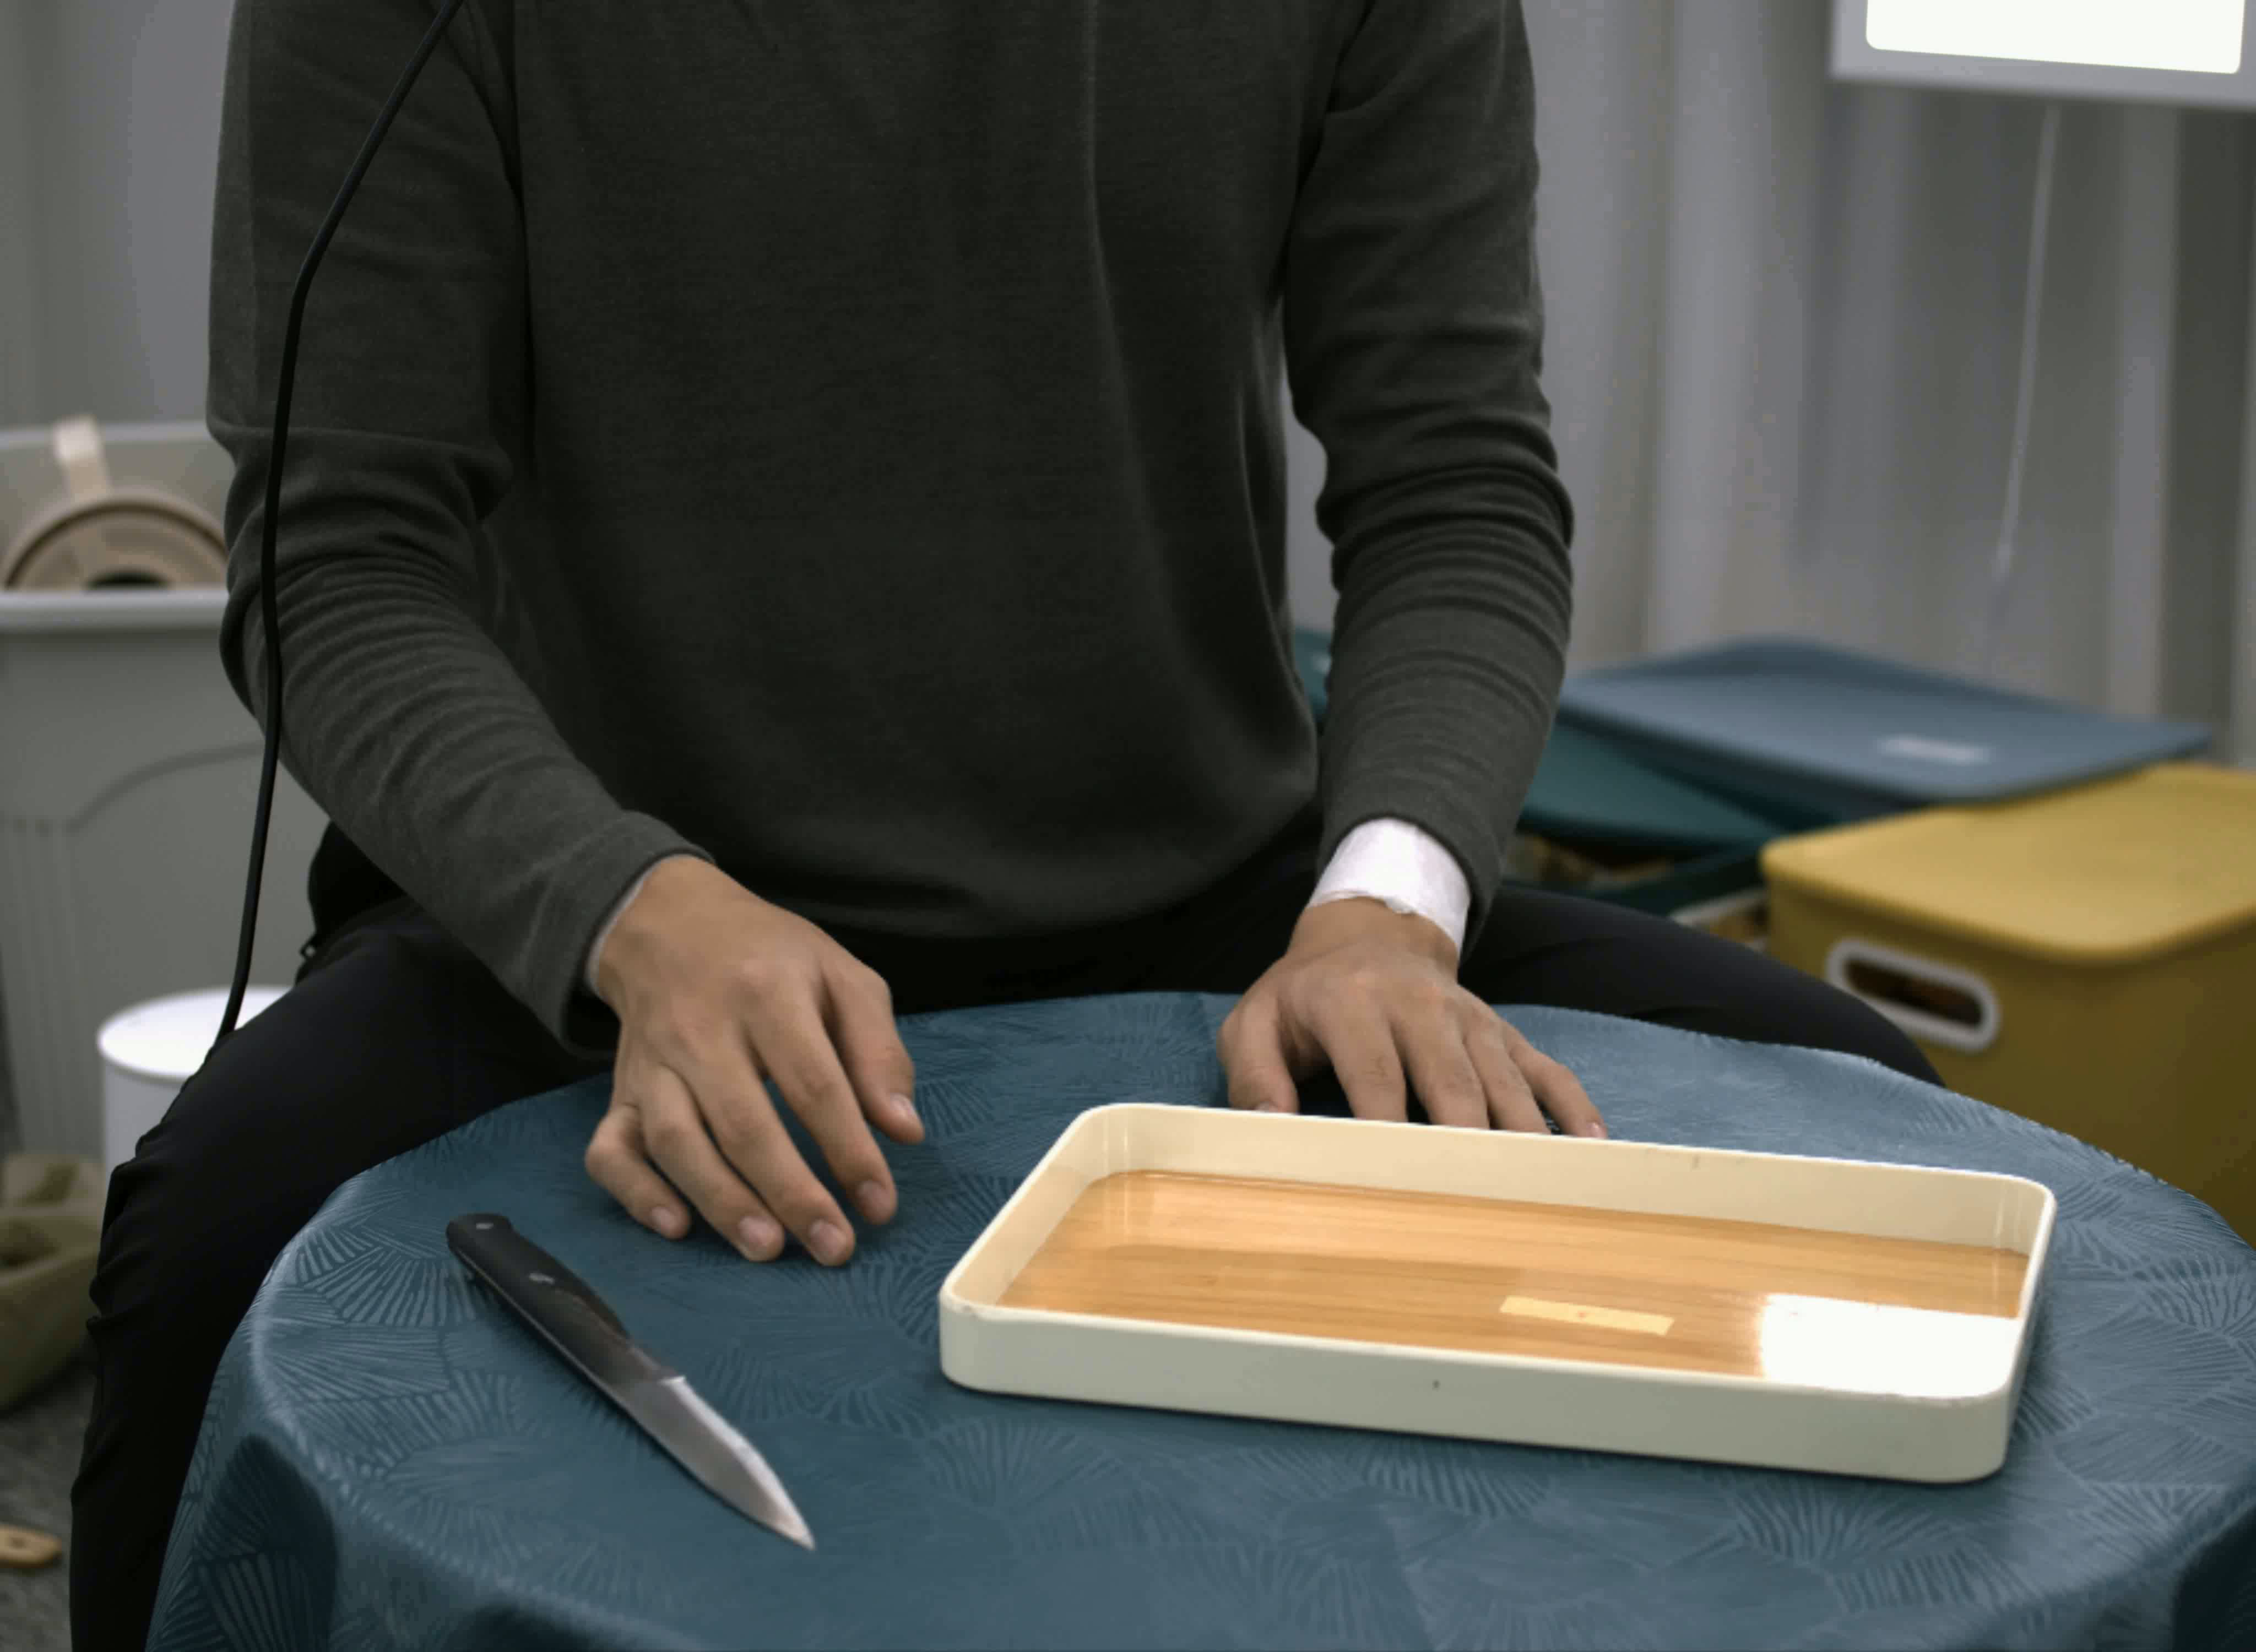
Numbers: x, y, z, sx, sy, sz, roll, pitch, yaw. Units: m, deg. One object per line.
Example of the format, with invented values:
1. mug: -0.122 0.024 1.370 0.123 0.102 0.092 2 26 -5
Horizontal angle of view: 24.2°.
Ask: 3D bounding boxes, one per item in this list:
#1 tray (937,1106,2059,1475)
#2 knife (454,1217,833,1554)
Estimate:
1. tray: 0.110 0.131 1.514 0.298 0.027 0.191 4 15 13
2. knife: -0.136 0.154 1.448 0.024 0.016 0.235 -10 21 -27
